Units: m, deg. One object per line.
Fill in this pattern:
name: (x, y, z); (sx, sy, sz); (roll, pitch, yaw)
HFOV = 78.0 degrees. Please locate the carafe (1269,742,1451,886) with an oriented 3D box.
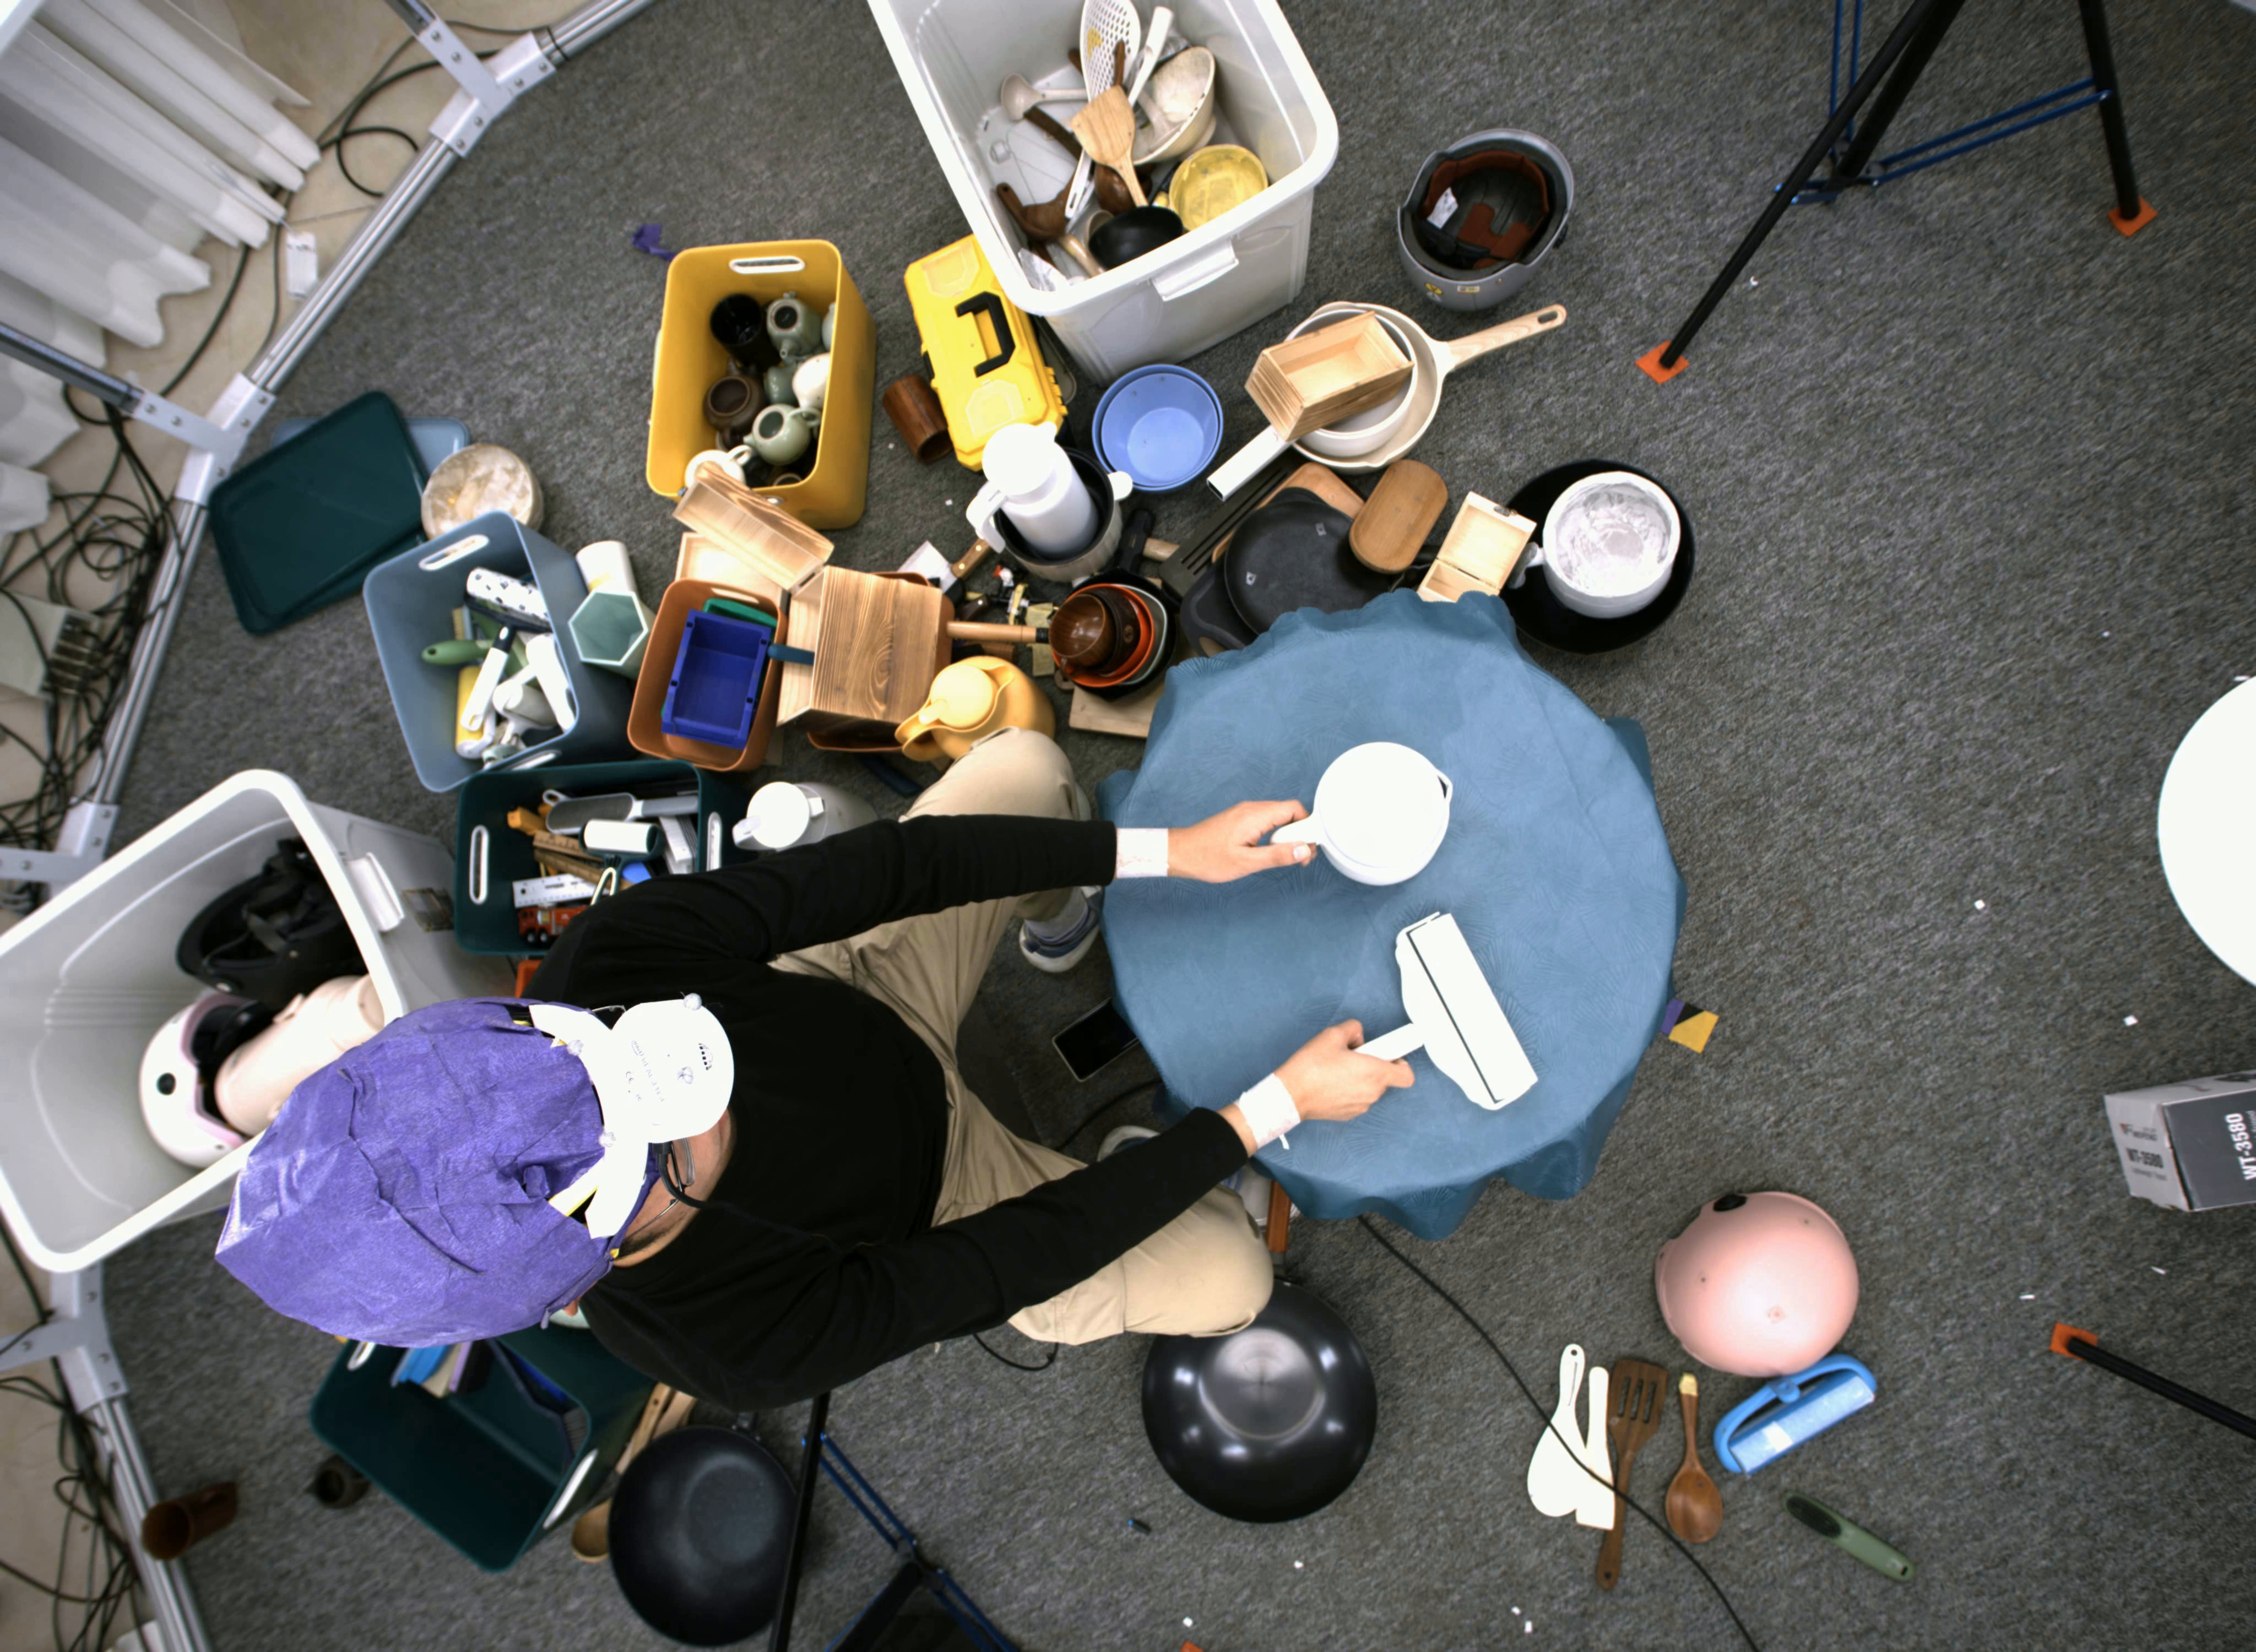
carafe: (0.230, -0.003, 1.385); (0.192, 0.182, 0.131); (-19, 81, 10)

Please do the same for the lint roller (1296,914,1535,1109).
lint roller: (0.274, 0.222, 1.411); (0.225, 0.048, 0.201); (-27, 83, -2)
